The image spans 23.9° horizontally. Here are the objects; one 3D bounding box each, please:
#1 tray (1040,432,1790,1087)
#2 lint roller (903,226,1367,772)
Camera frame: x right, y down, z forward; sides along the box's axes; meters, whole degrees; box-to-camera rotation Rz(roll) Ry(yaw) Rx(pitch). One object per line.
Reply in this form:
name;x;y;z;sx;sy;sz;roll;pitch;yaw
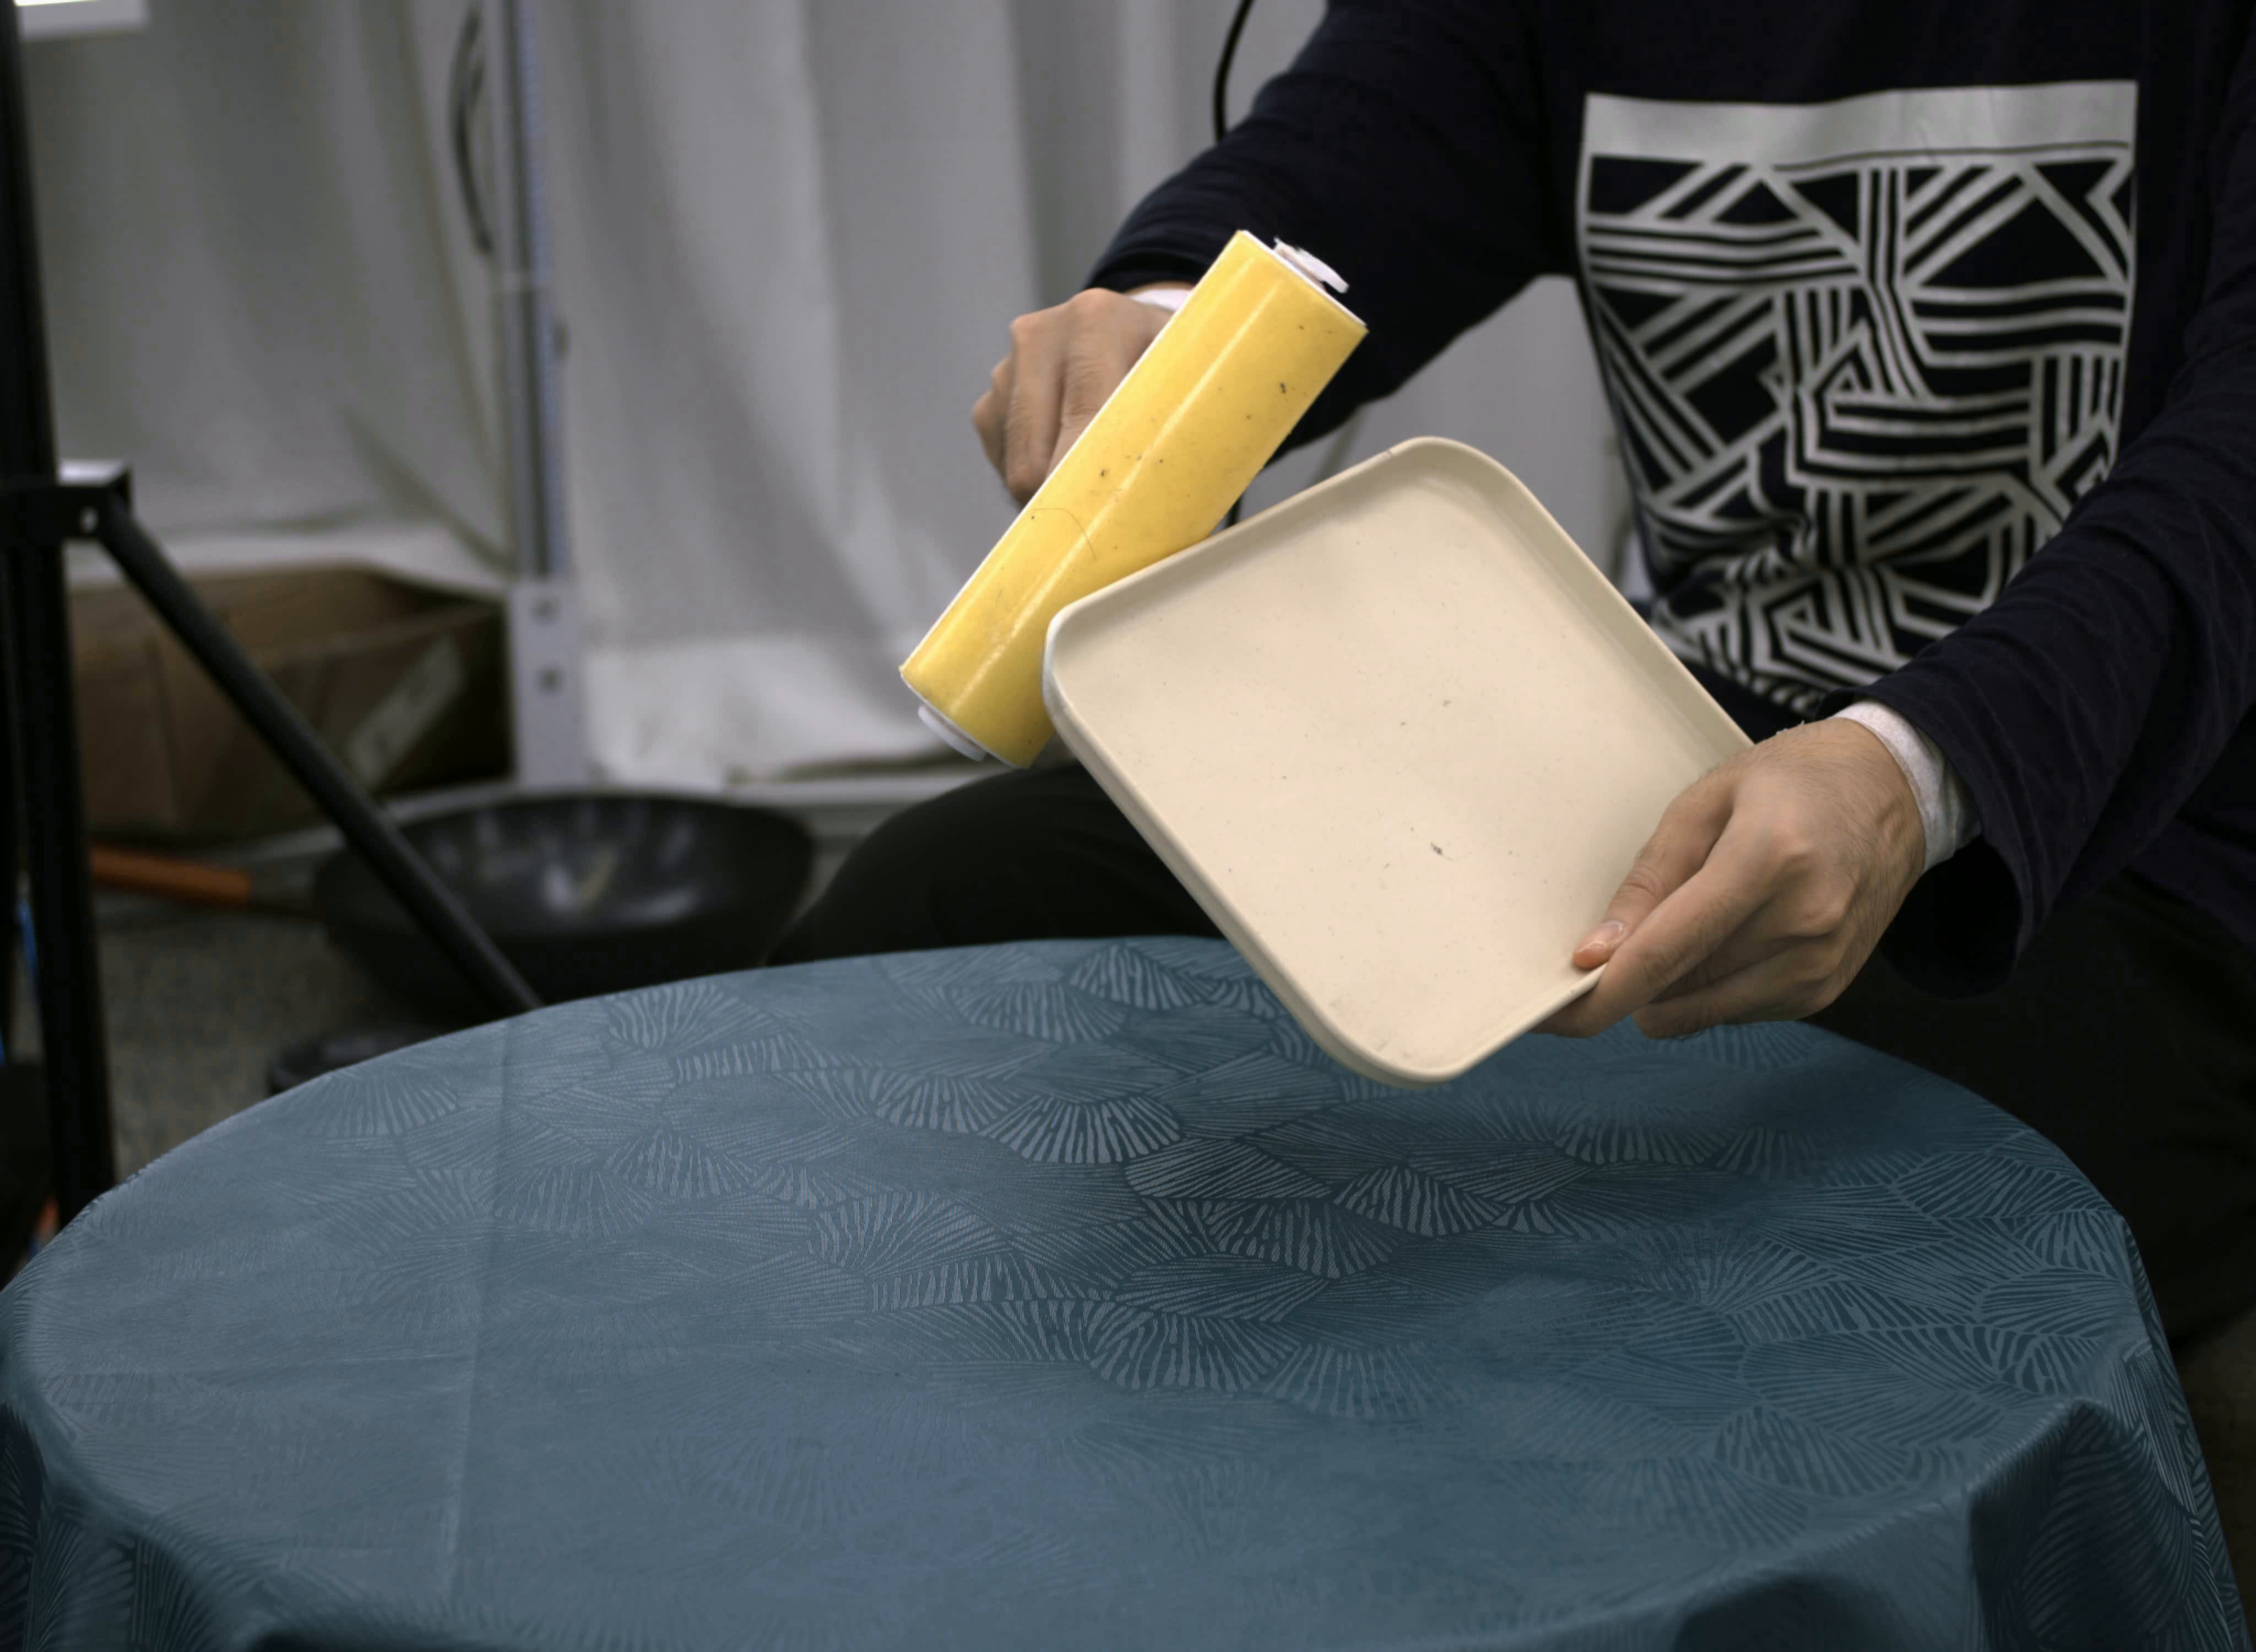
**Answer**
tray;0.084;-0.021;1.516;0.173;0.017;0.235;50;40;11
lint roller;-0.015;-0.110;1.592;0.050;0.175;0.195;35;5;-20
